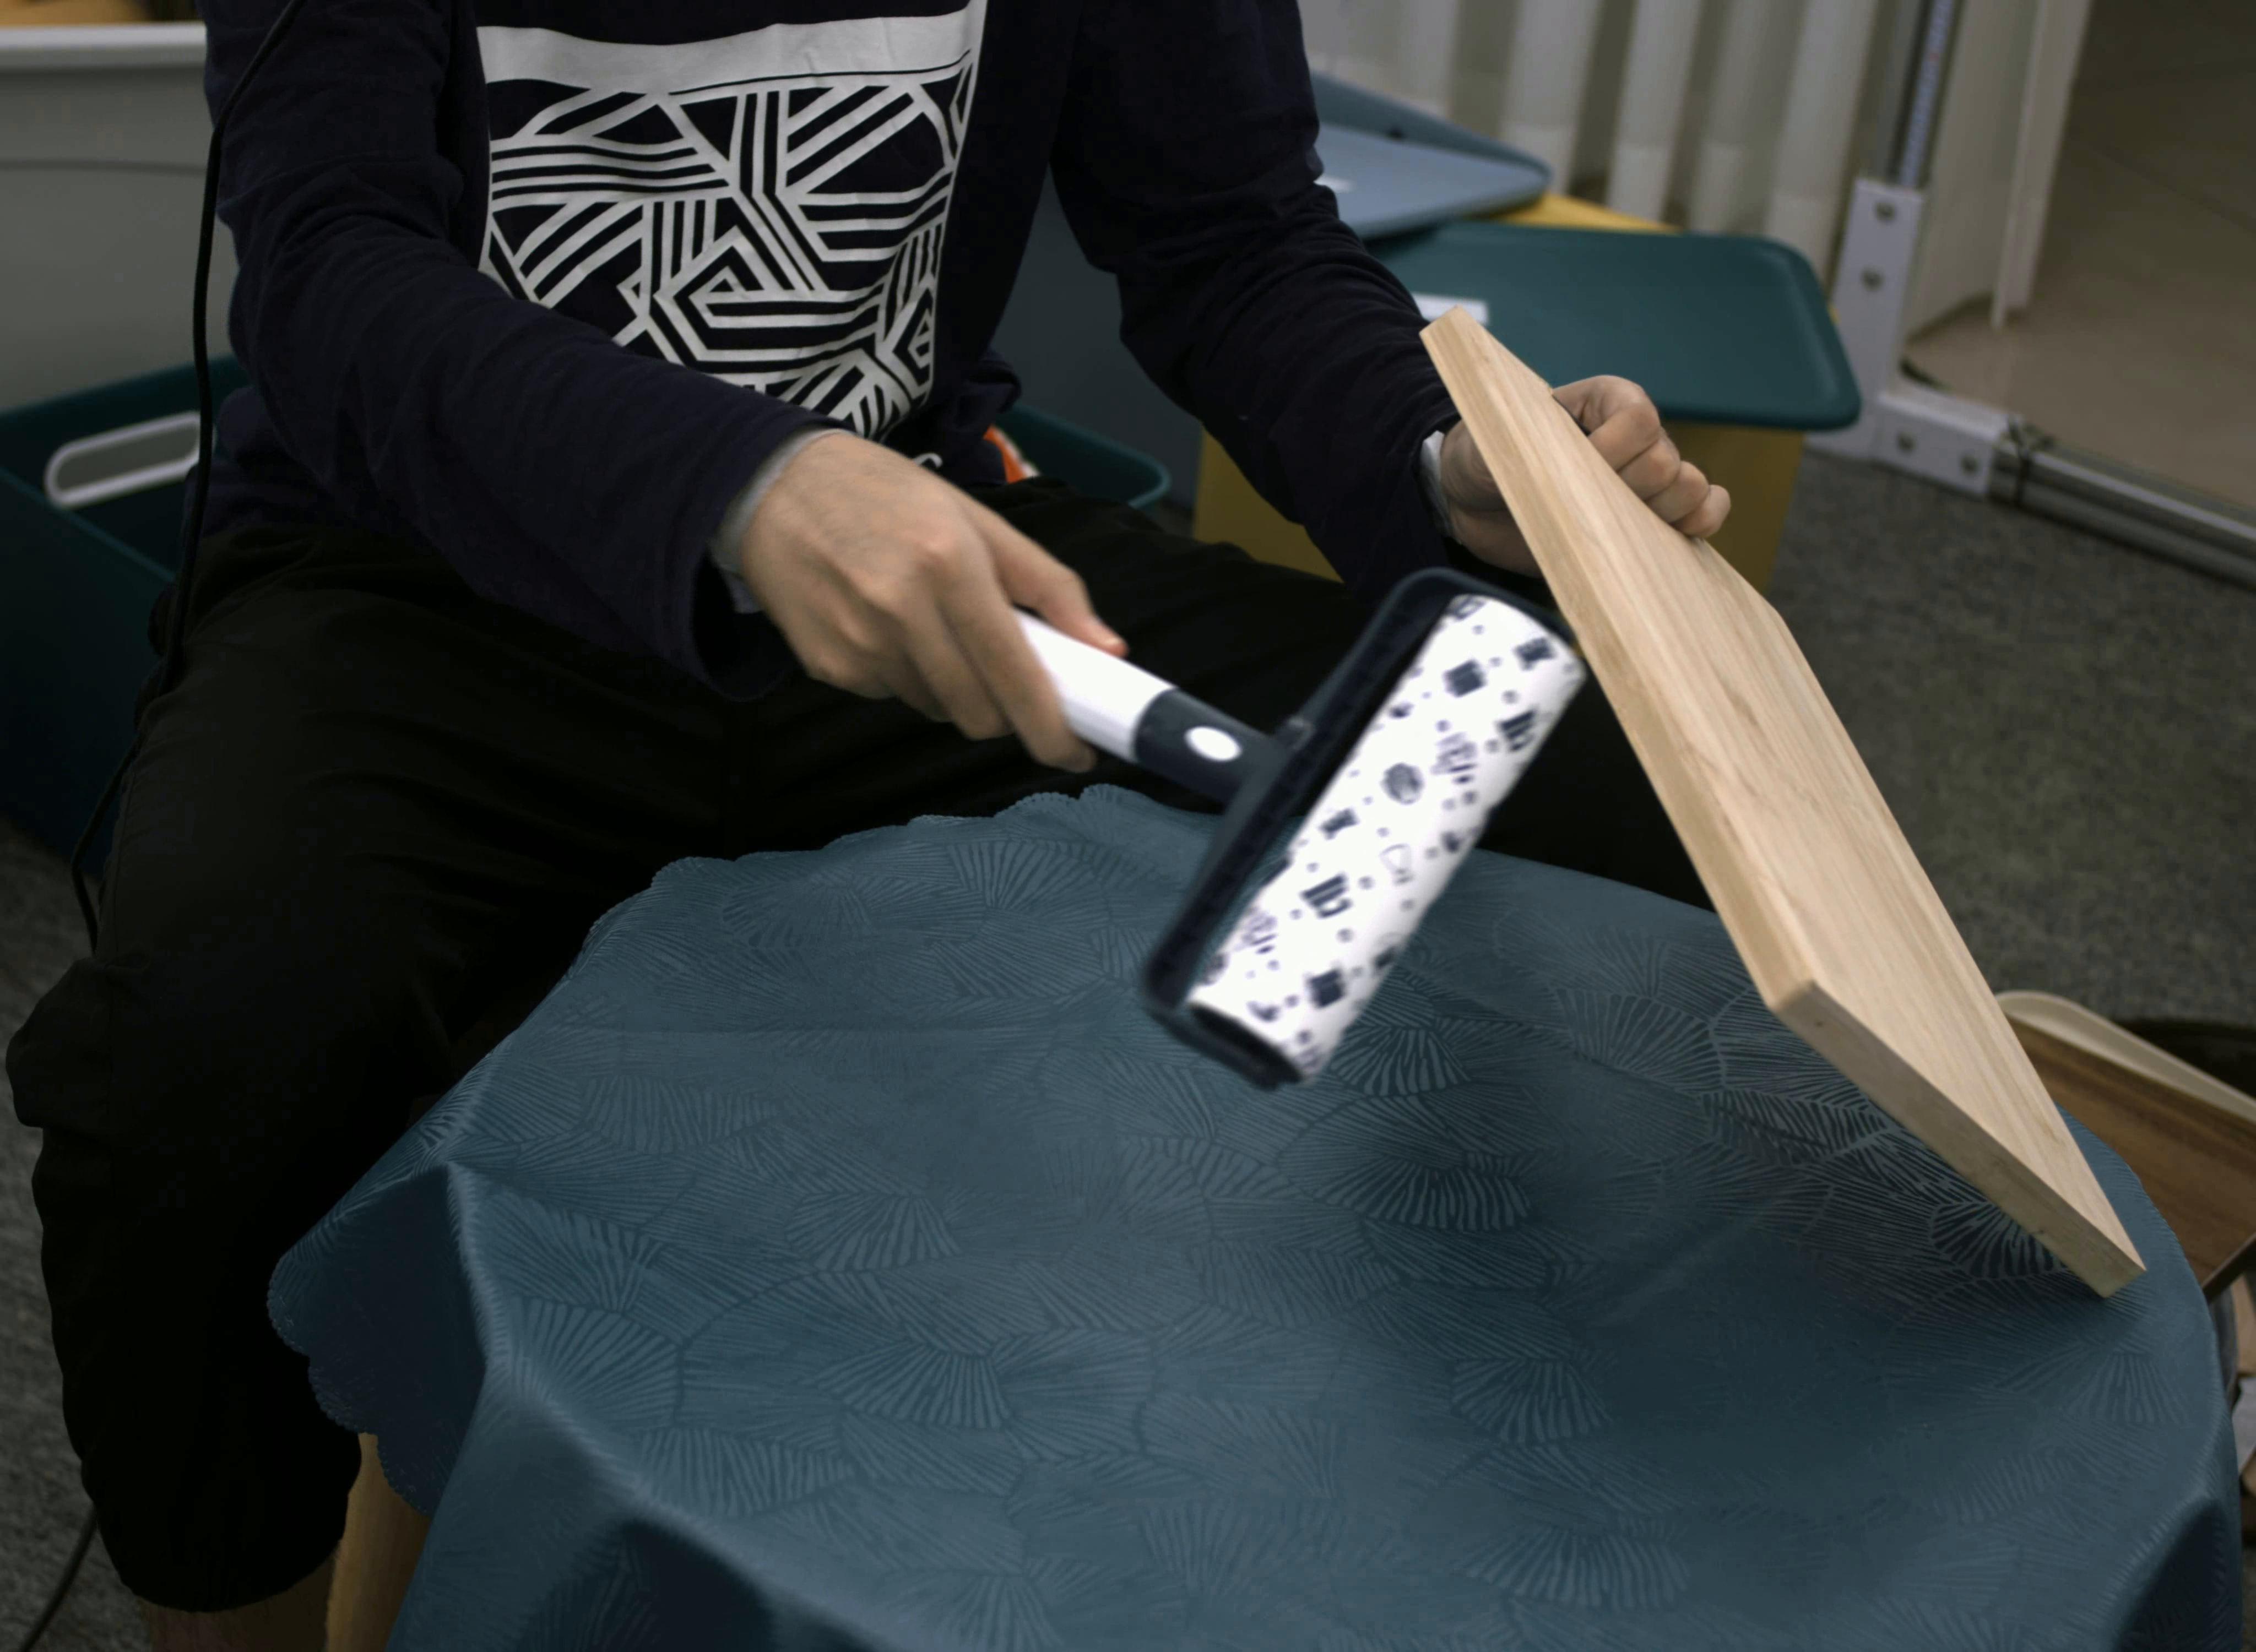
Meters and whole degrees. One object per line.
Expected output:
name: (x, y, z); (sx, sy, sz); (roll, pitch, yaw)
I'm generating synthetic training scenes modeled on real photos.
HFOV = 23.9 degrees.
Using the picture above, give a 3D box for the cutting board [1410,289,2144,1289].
cutting board: (0.221, -0.016, 1.843); (0.248, 0.023, 0.352); (38, 21, -44)

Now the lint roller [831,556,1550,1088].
lint roller: (-0.005, -0.036, 1.718); (0.248, 0.050, 0.176); (26, 77, 31)
